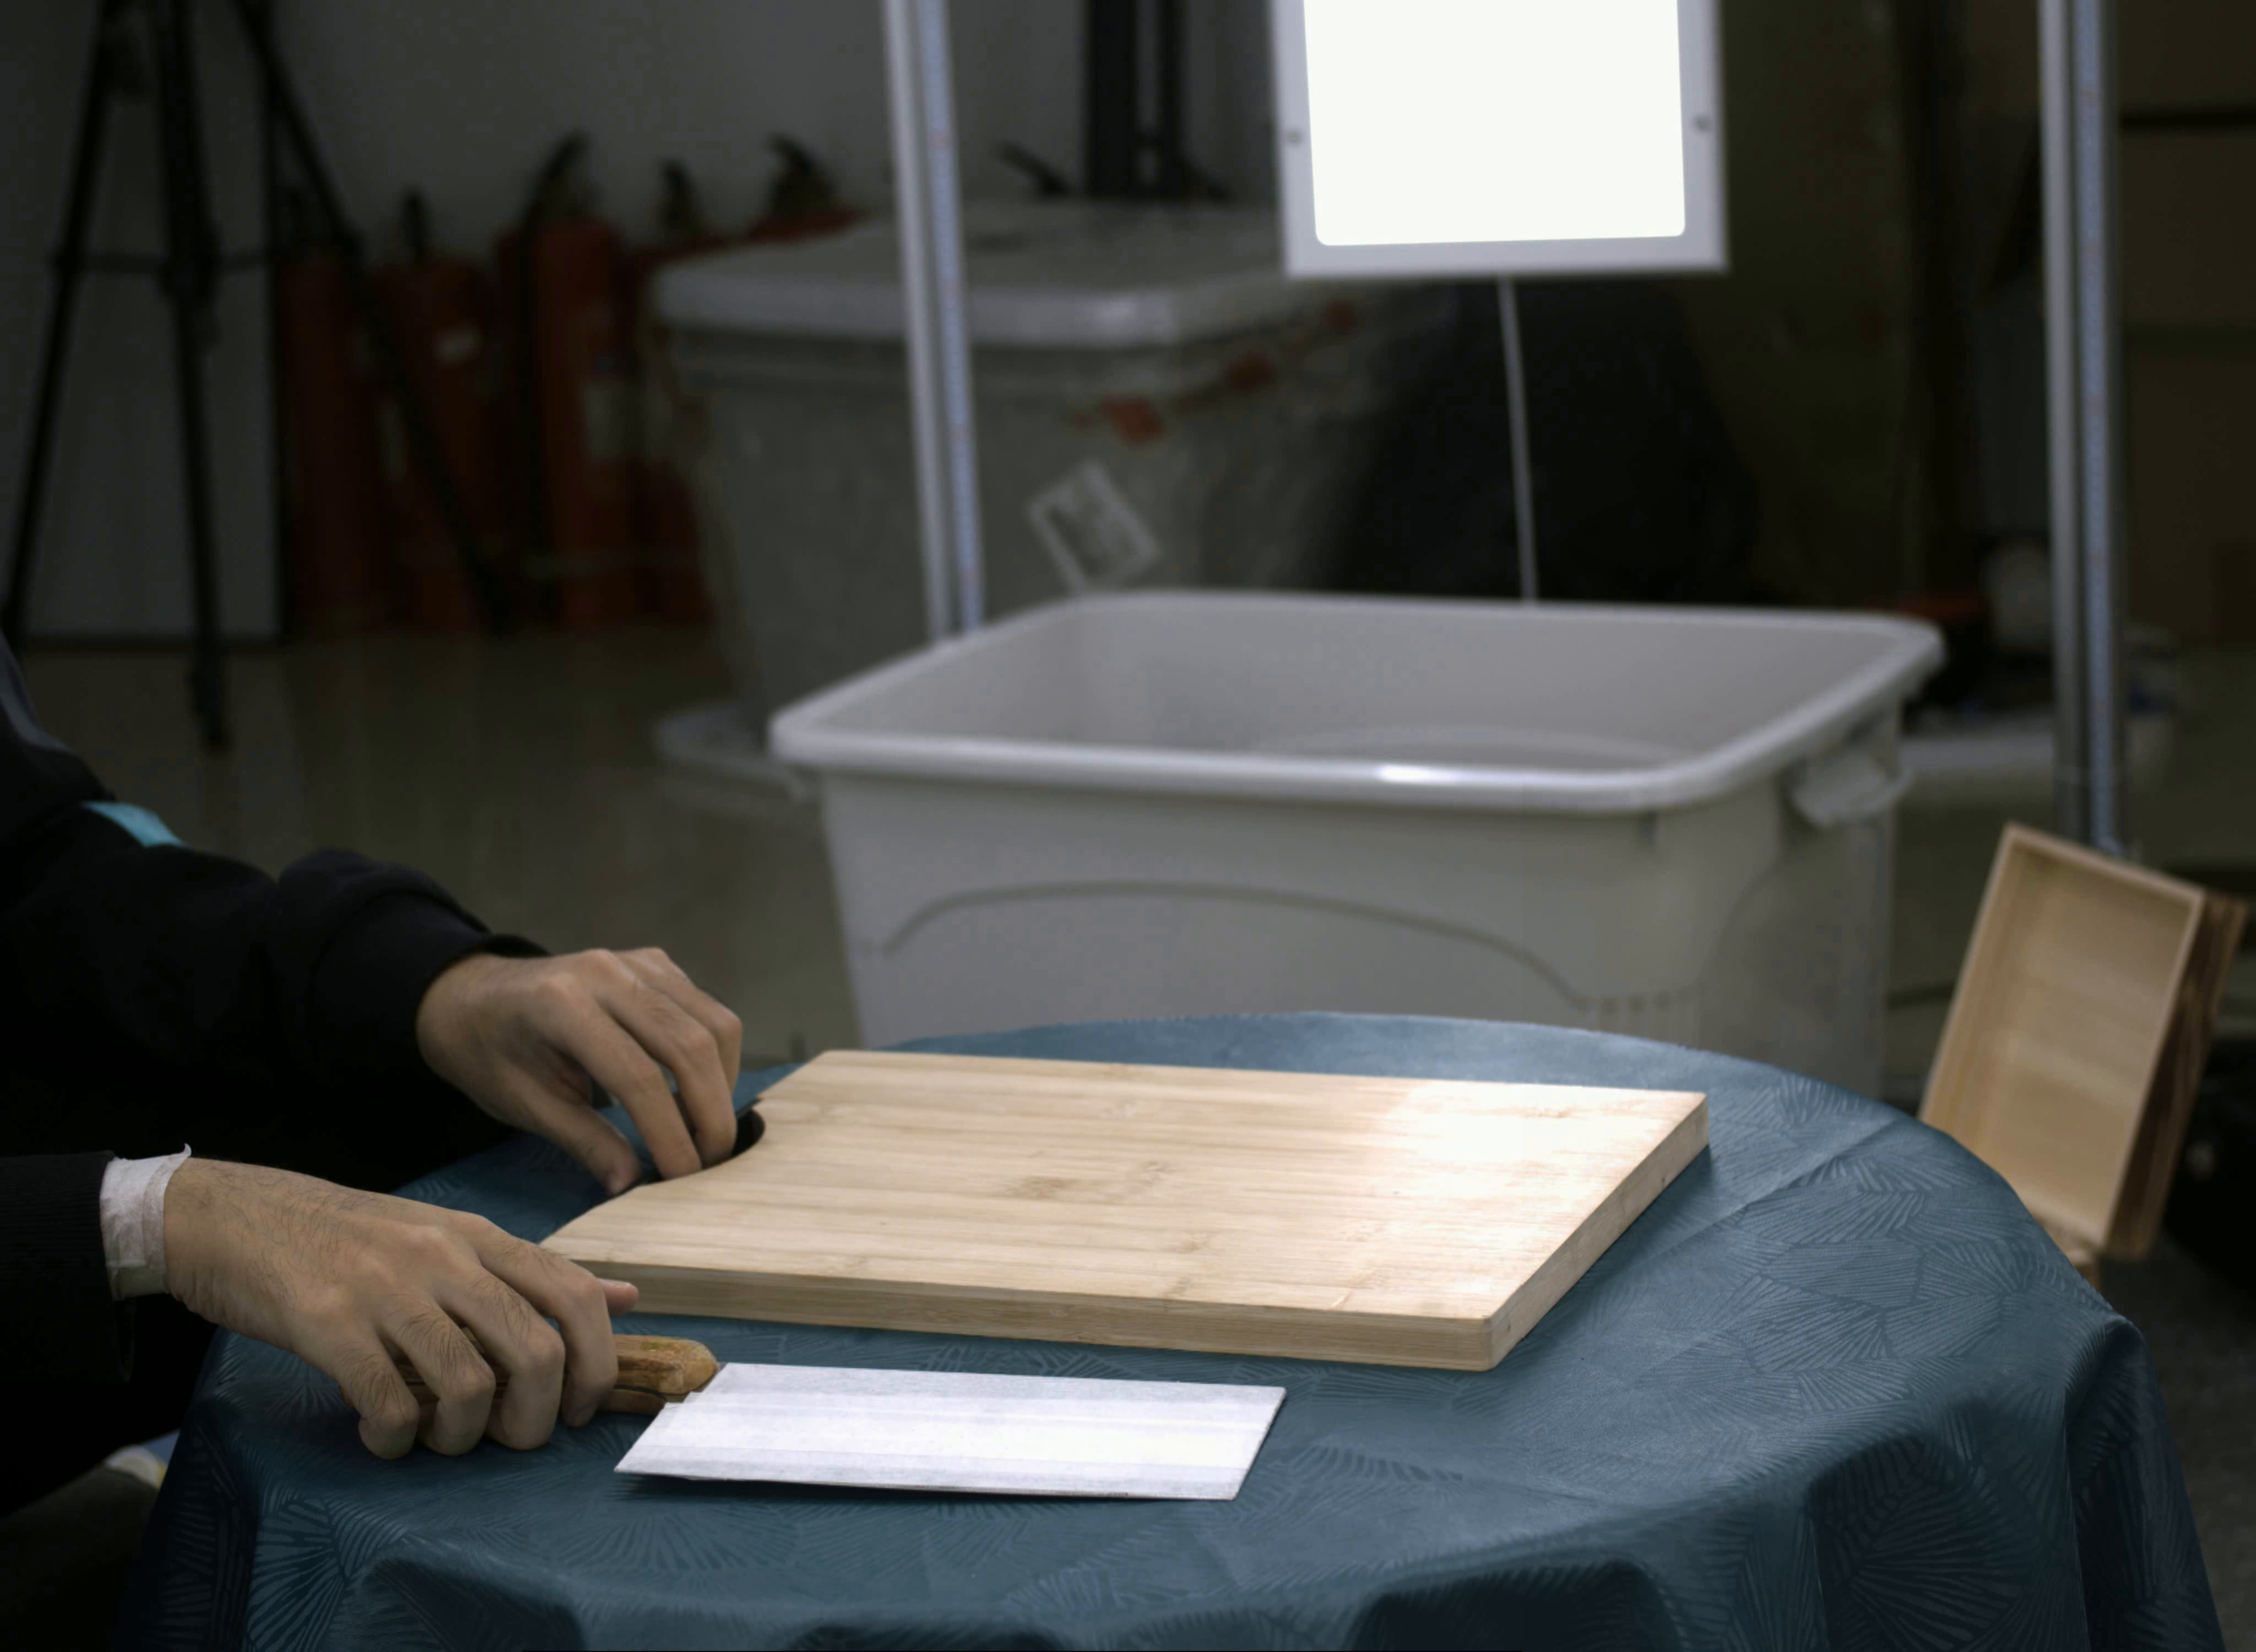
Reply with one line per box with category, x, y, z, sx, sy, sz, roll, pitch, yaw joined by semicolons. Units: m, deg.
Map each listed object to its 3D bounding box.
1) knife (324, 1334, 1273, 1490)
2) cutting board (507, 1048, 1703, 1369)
knife;-0.108;0.181;1.683;0.308;0.021;0.091;1;16;14
cutting board;-0.004;0.126;1.867;0.354;0.023;0.246;1;15;24
